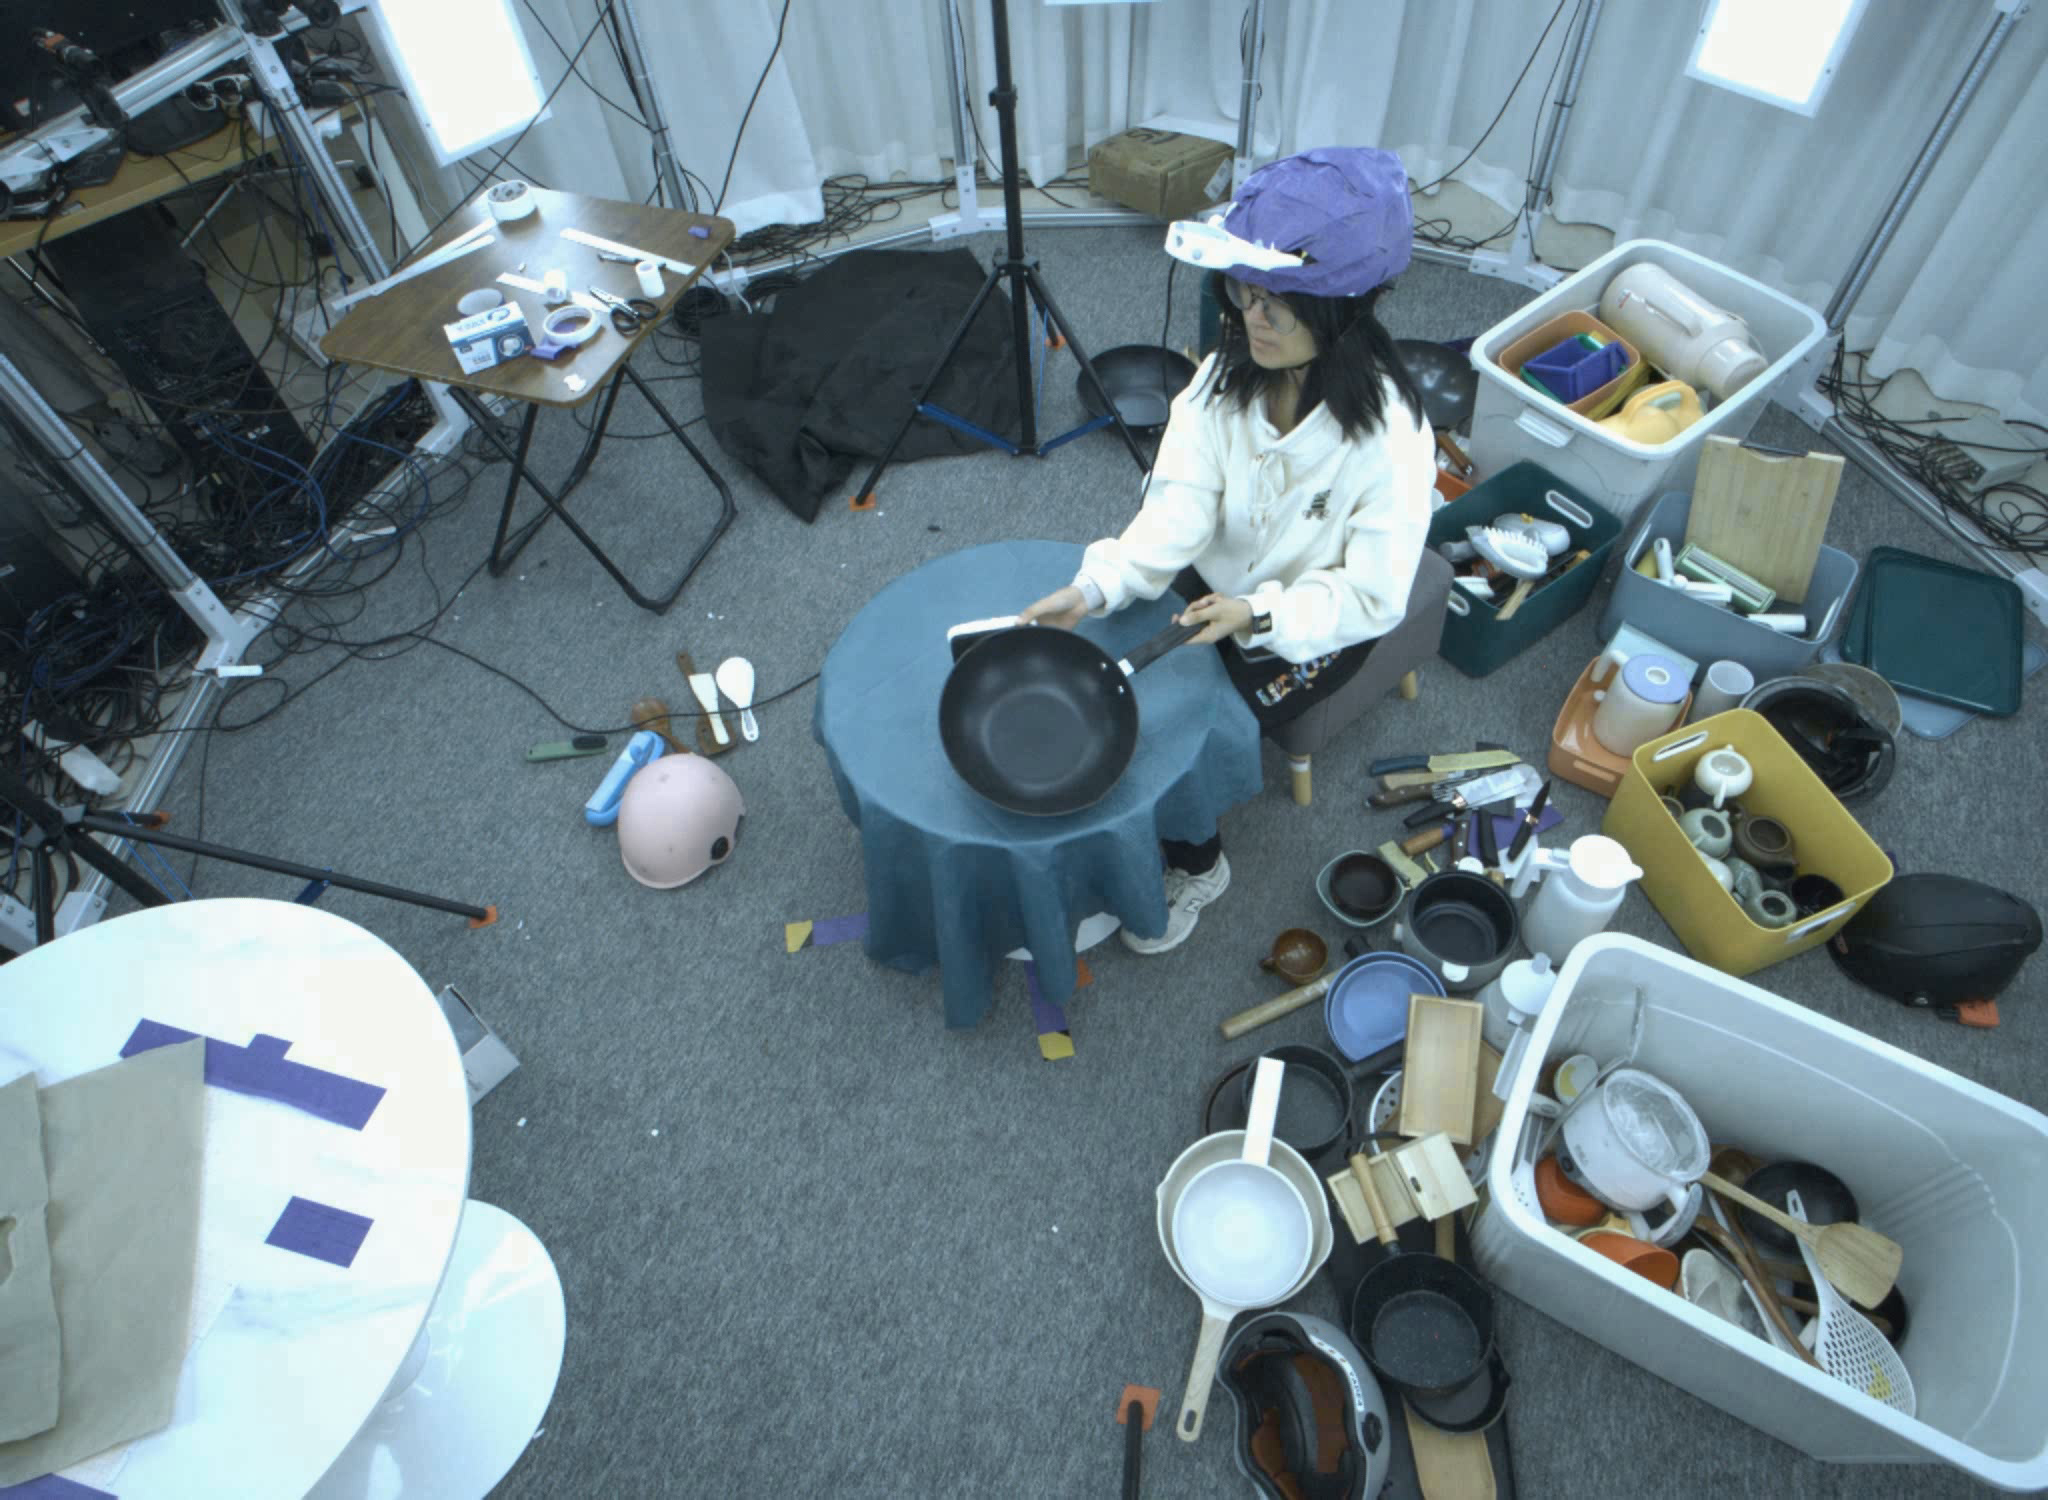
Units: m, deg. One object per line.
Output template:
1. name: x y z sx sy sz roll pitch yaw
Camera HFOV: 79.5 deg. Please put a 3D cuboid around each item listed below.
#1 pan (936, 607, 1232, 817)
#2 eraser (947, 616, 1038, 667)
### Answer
1. pan: 0.094 -0.079 1.754 0.466 0.087 0.286 -31 78 -14
2. eraser: -0.044 -0.156 1.770 0.132 0.064 0.034 -10 51 -6
